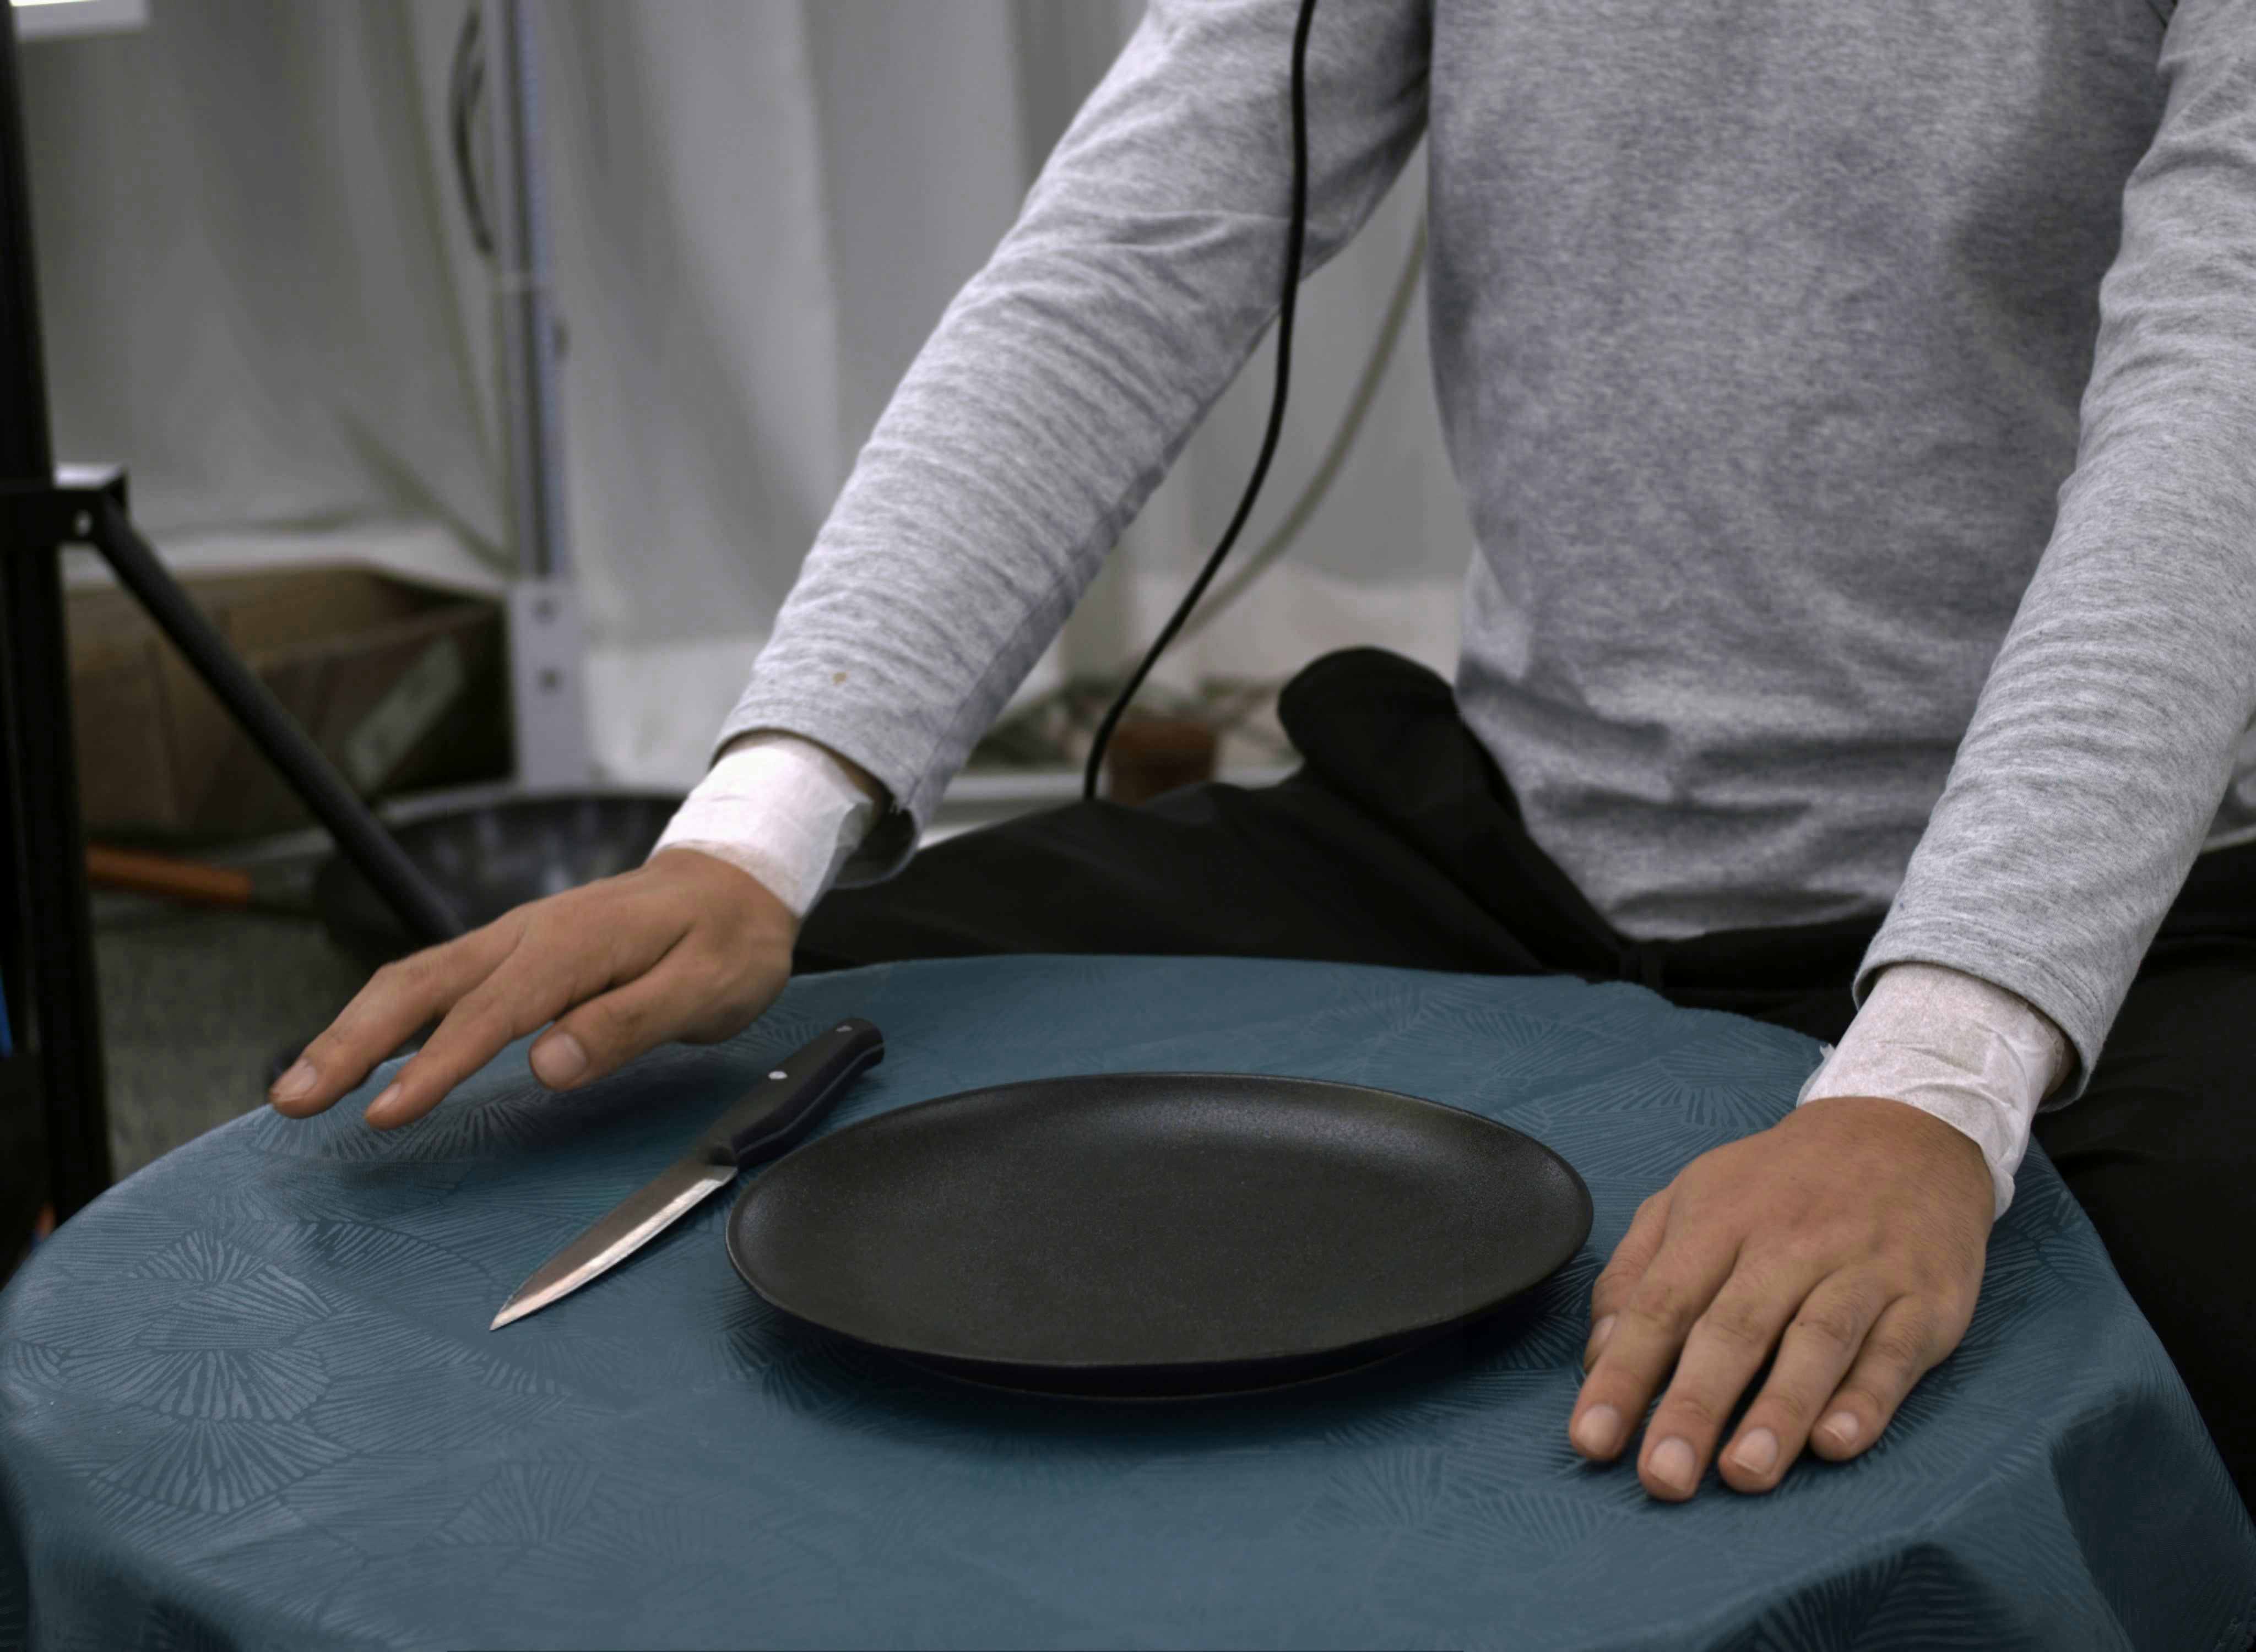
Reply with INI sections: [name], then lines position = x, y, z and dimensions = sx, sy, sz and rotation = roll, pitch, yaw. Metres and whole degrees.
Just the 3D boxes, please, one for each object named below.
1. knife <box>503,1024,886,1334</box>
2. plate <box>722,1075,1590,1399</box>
[knife]
position = -0.129, 0.104, 1.576
dimensions = 0.025, 0.016, 0.235
rotation = 1, 18, 24
[plate]
position = 0.008, 0.117, 1.487
dimensions = 0.243, 0.023, 0.245
rotation = -3, 16, -1
